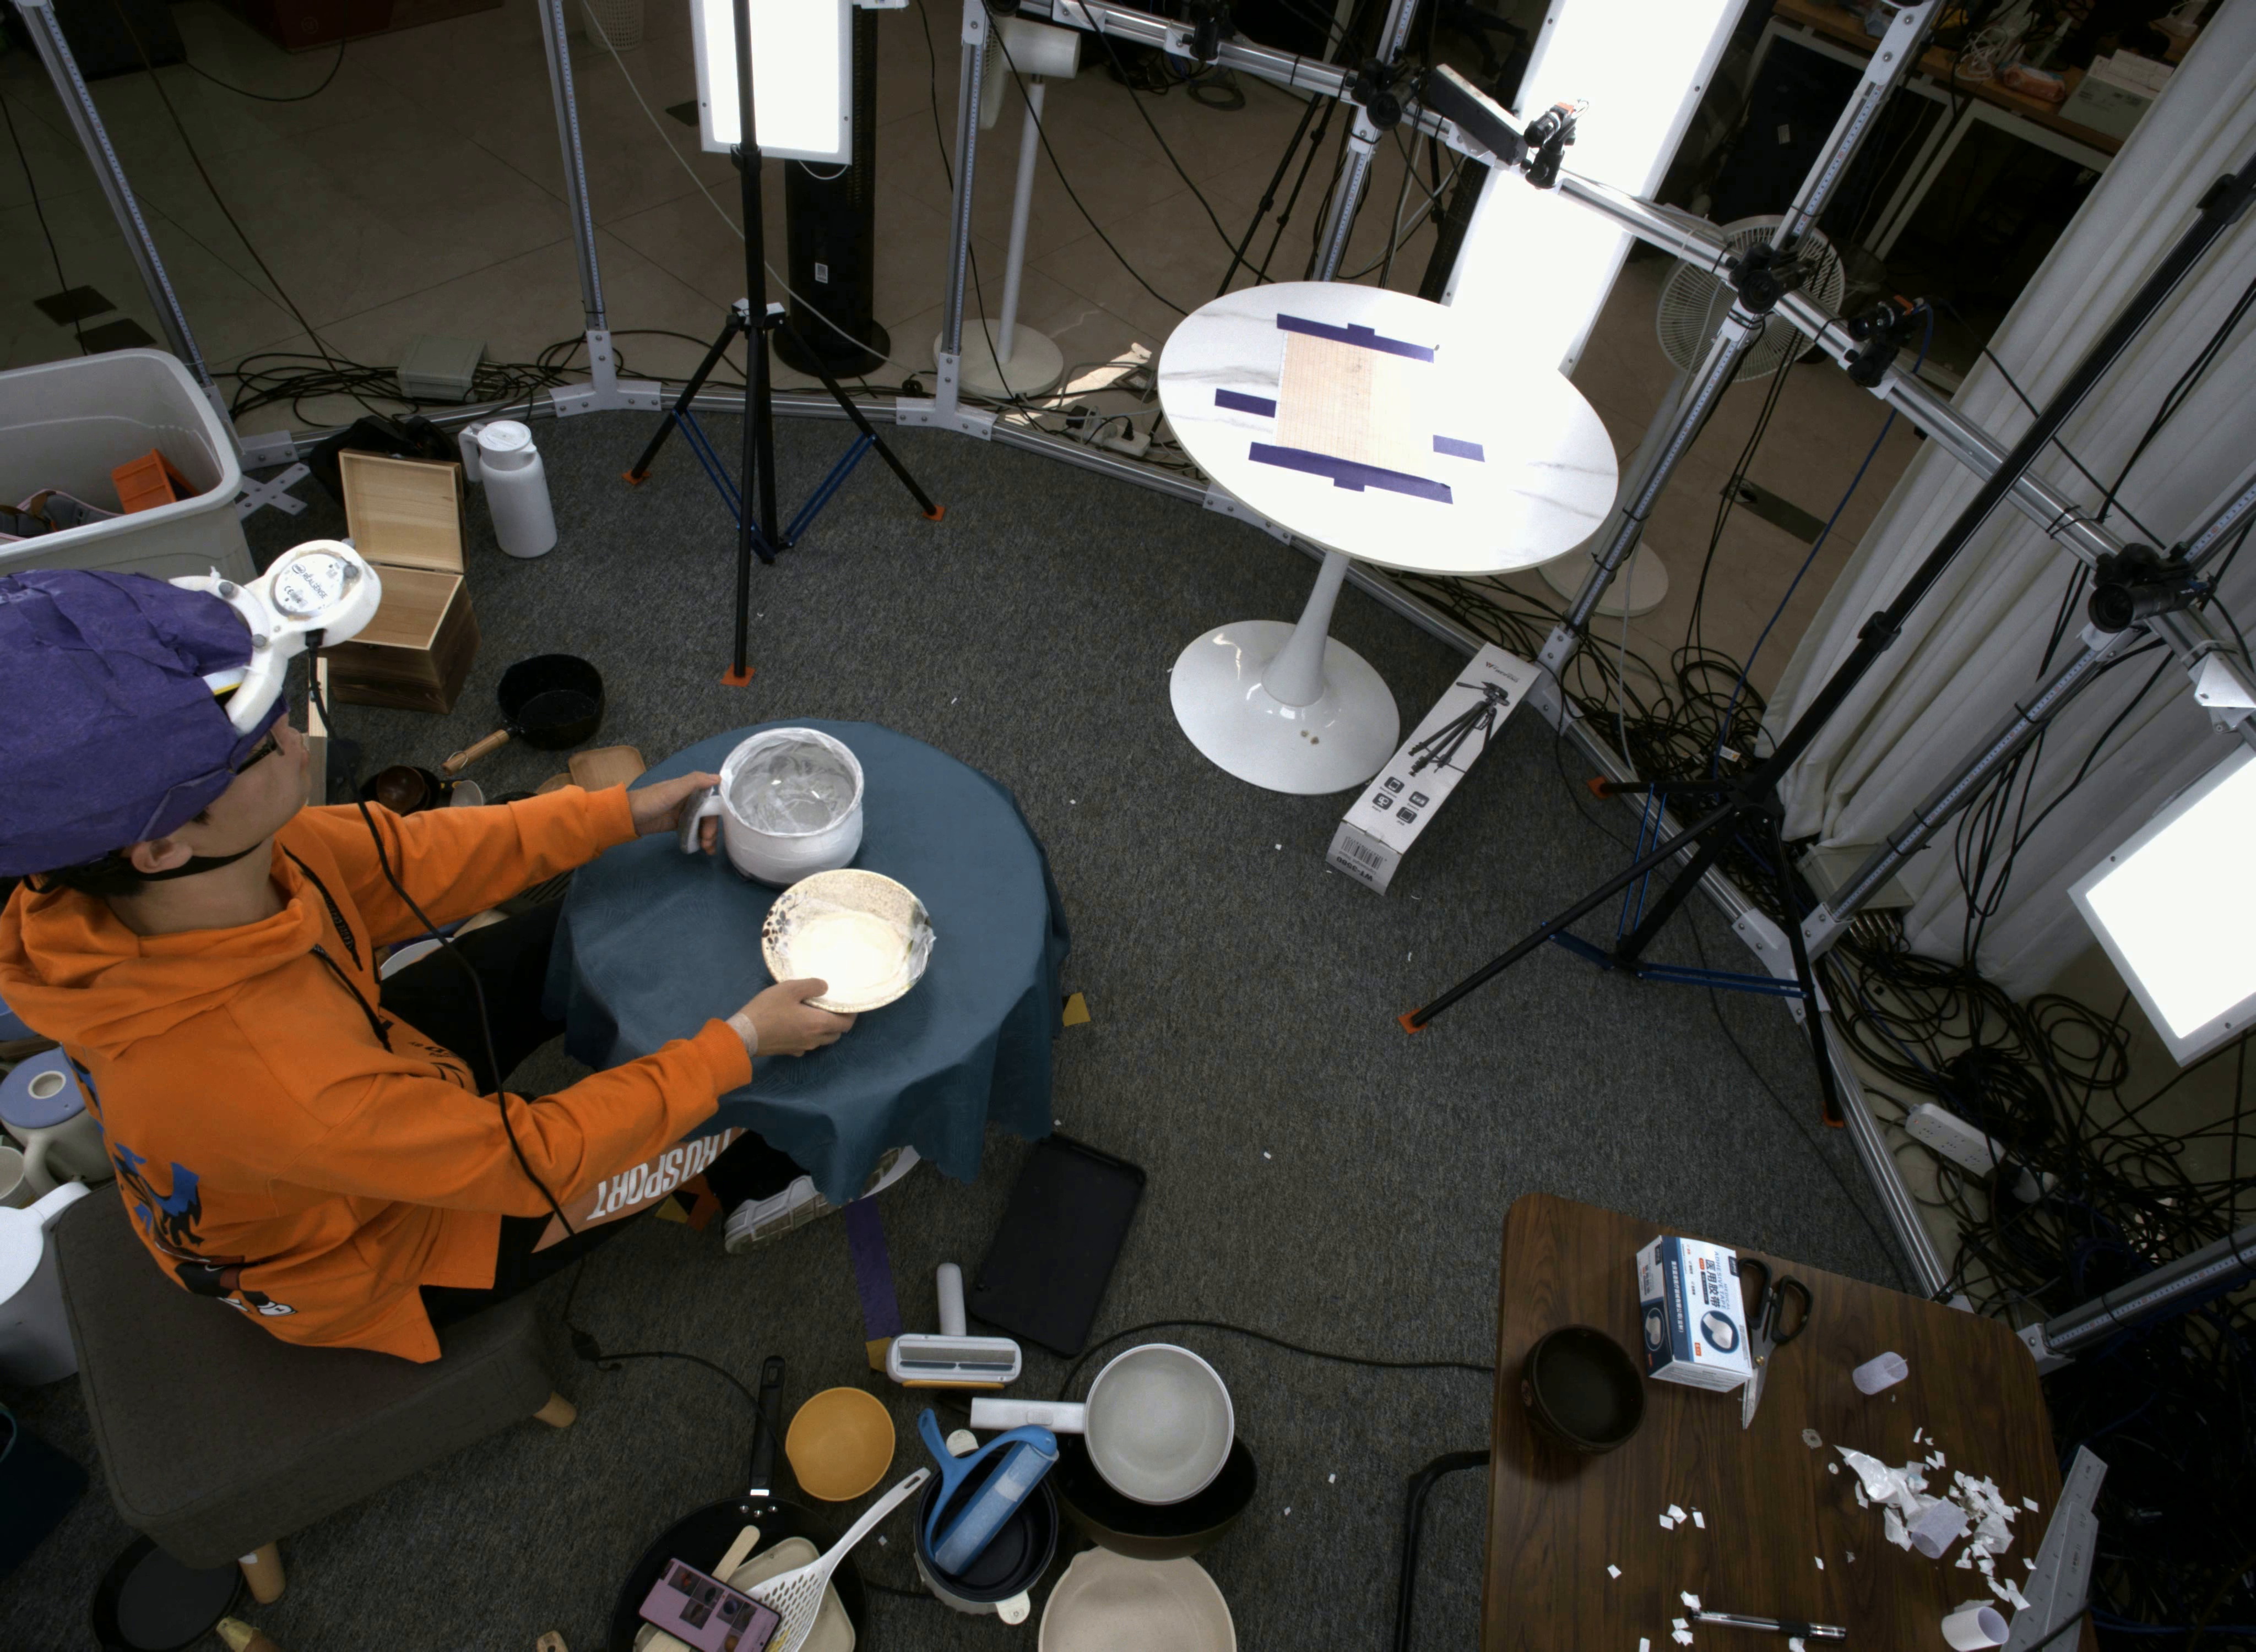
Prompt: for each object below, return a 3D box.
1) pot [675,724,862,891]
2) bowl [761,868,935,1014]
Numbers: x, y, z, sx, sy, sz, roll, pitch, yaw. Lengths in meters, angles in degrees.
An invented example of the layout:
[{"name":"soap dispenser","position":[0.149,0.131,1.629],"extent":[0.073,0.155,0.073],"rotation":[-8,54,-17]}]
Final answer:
[{"name":"pot","position":[-0.453,-0.016,1.630],"extent":[0.235,0.139,0.174],"rotation":[-7,55,-19]},{"name":"bowl","position":[-0.337,0.154,1.573],"extent":[0.203,0.079,0.200],"rotation":[7,54,-8]}]
